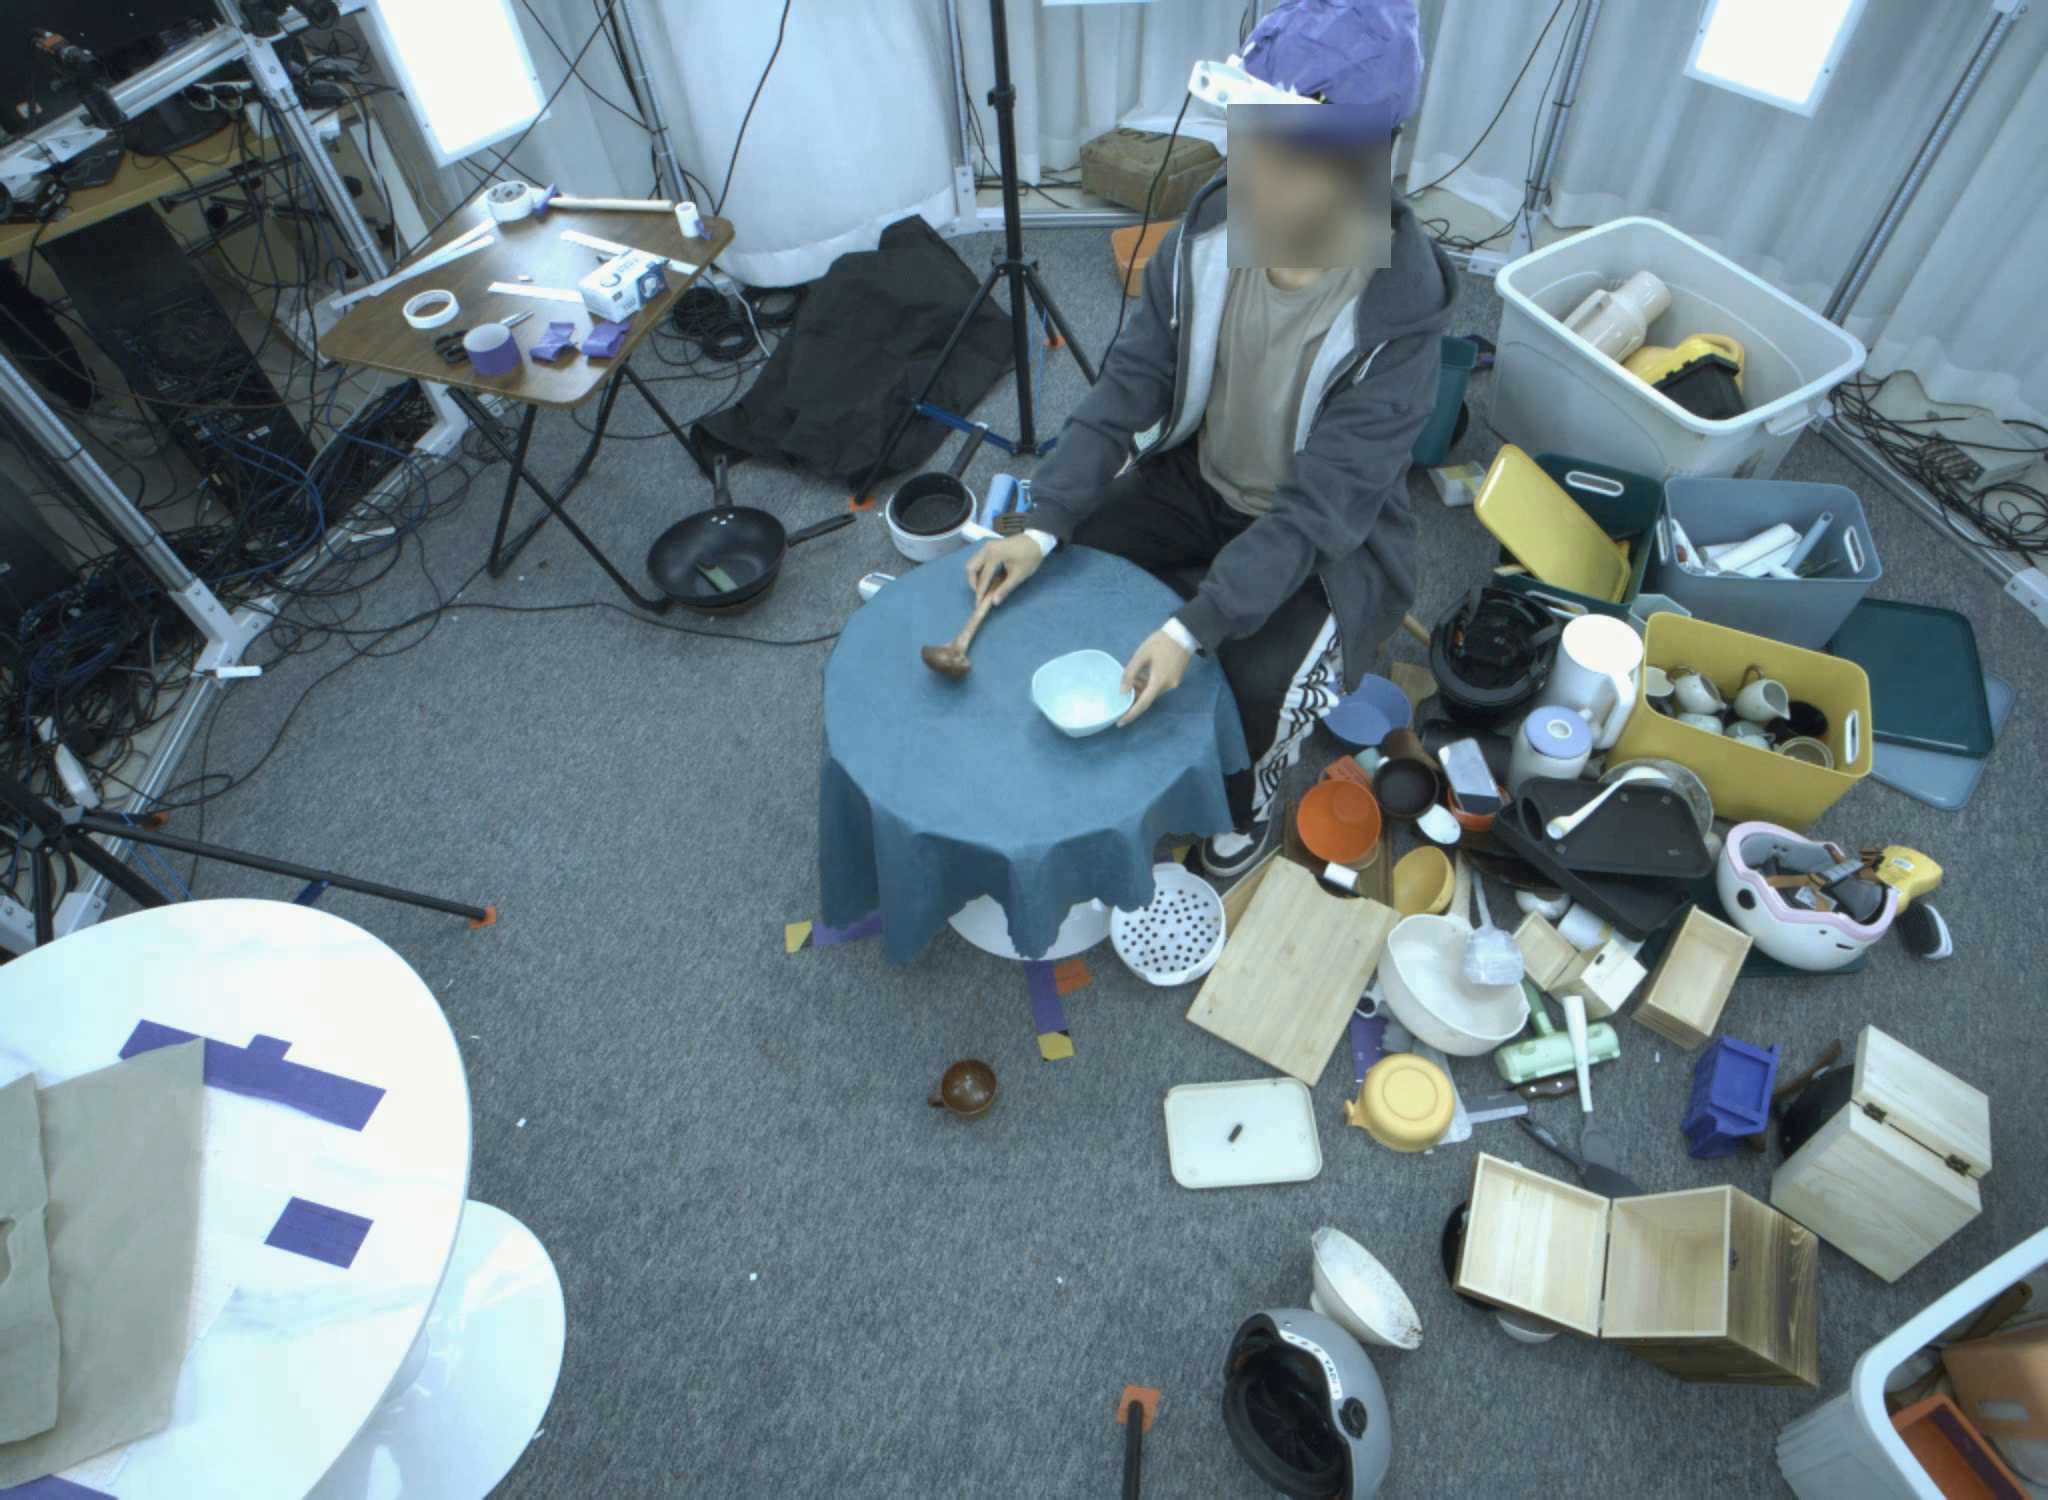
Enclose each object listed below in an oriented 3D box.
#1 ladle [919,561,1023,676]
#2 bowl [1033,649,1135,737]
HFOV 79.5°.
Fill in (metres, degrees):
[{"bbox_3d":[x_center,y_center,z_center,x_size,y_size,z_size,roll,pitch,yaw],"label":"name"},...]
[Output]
[{"bbox_3d":[-0.072,-0.217,1.895,0.081,0.077,0.274,29,61,5],"label":"ladle"},{"bbox_3d":[0.088,-0.074,1.802,0.151,0.059,0.150,-1,54,3],"label":"bowl"}]
